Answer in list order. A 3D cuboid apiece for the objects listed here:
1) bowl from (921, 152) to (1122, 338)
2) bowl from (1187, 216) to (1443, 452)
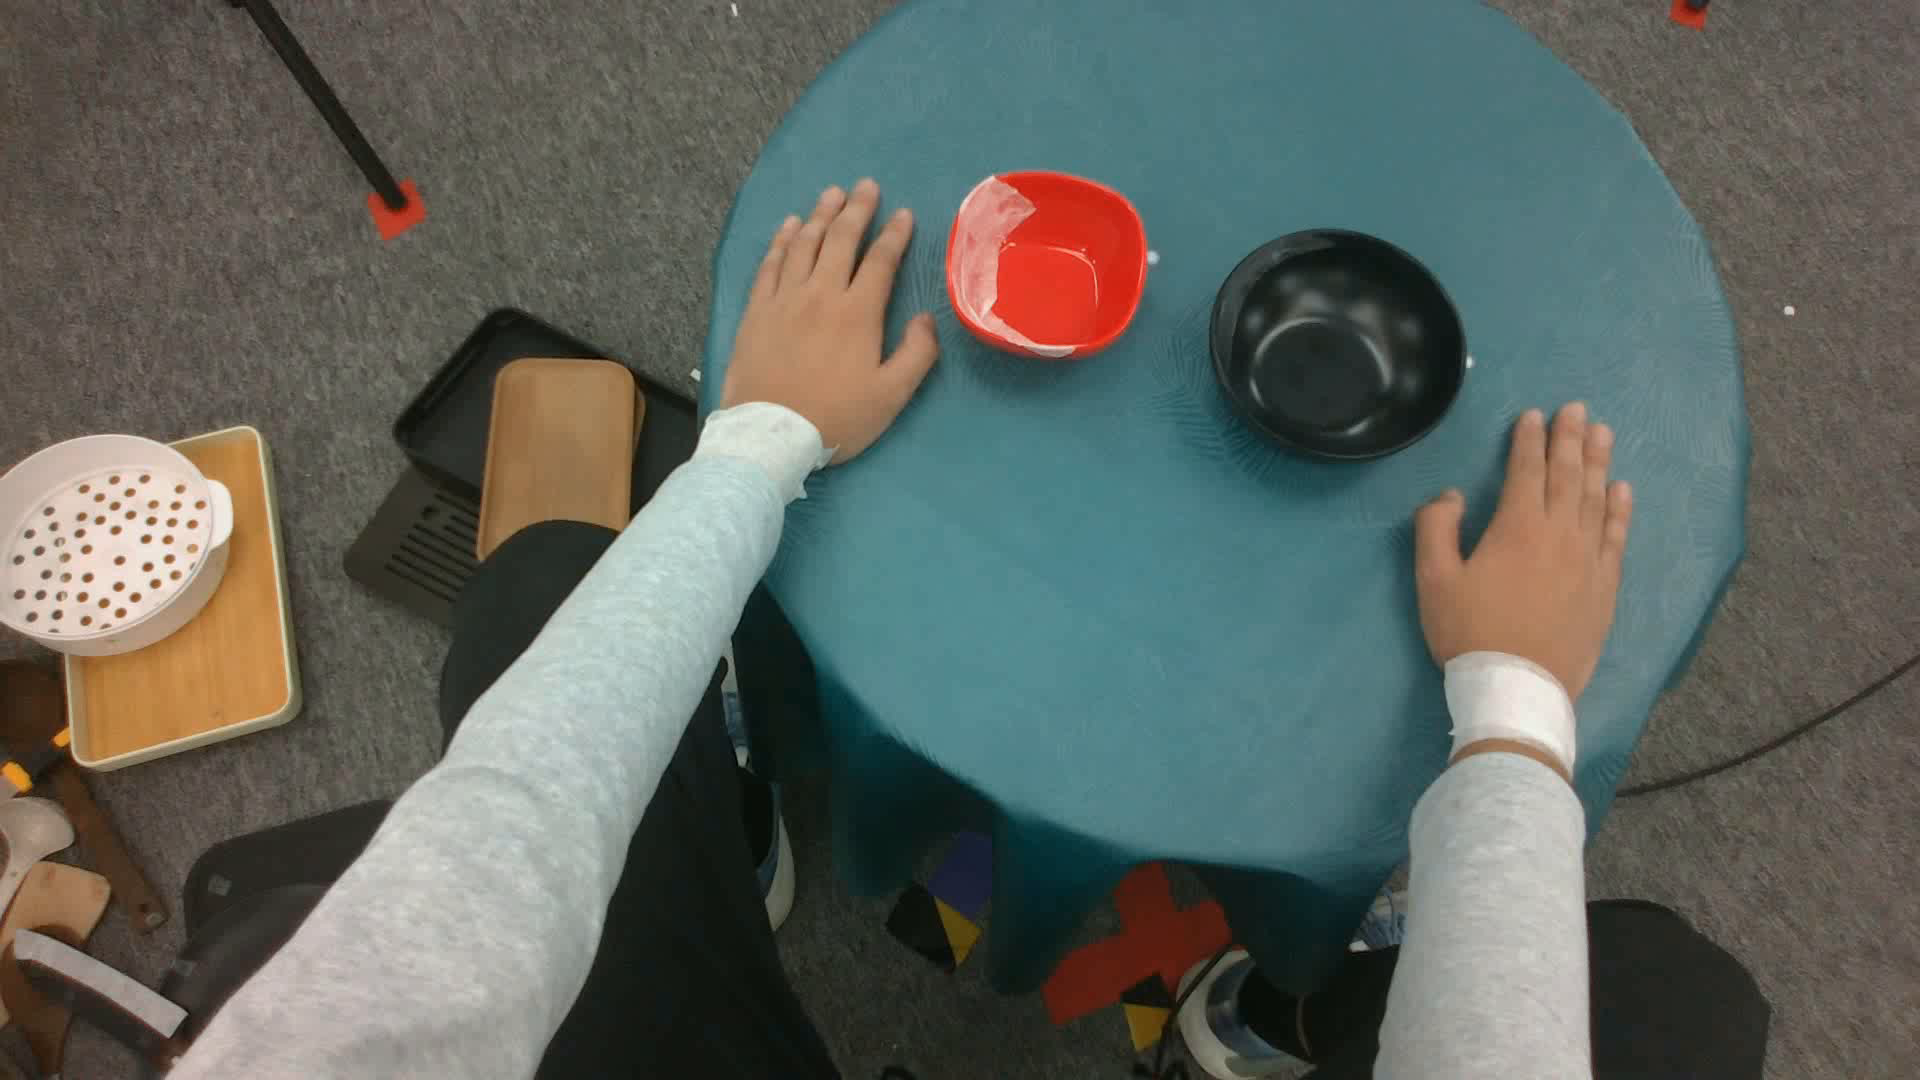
[{"bbox_3d":[0.033,-0.157,0.776,0.119,0.051,0.119,1,69,-3],"label":"bowl"},{"bbox_3d":[0.193,-0.109,0.771,0.140,0.049,0.140,0,73,-1],"label":"bowl"}]
